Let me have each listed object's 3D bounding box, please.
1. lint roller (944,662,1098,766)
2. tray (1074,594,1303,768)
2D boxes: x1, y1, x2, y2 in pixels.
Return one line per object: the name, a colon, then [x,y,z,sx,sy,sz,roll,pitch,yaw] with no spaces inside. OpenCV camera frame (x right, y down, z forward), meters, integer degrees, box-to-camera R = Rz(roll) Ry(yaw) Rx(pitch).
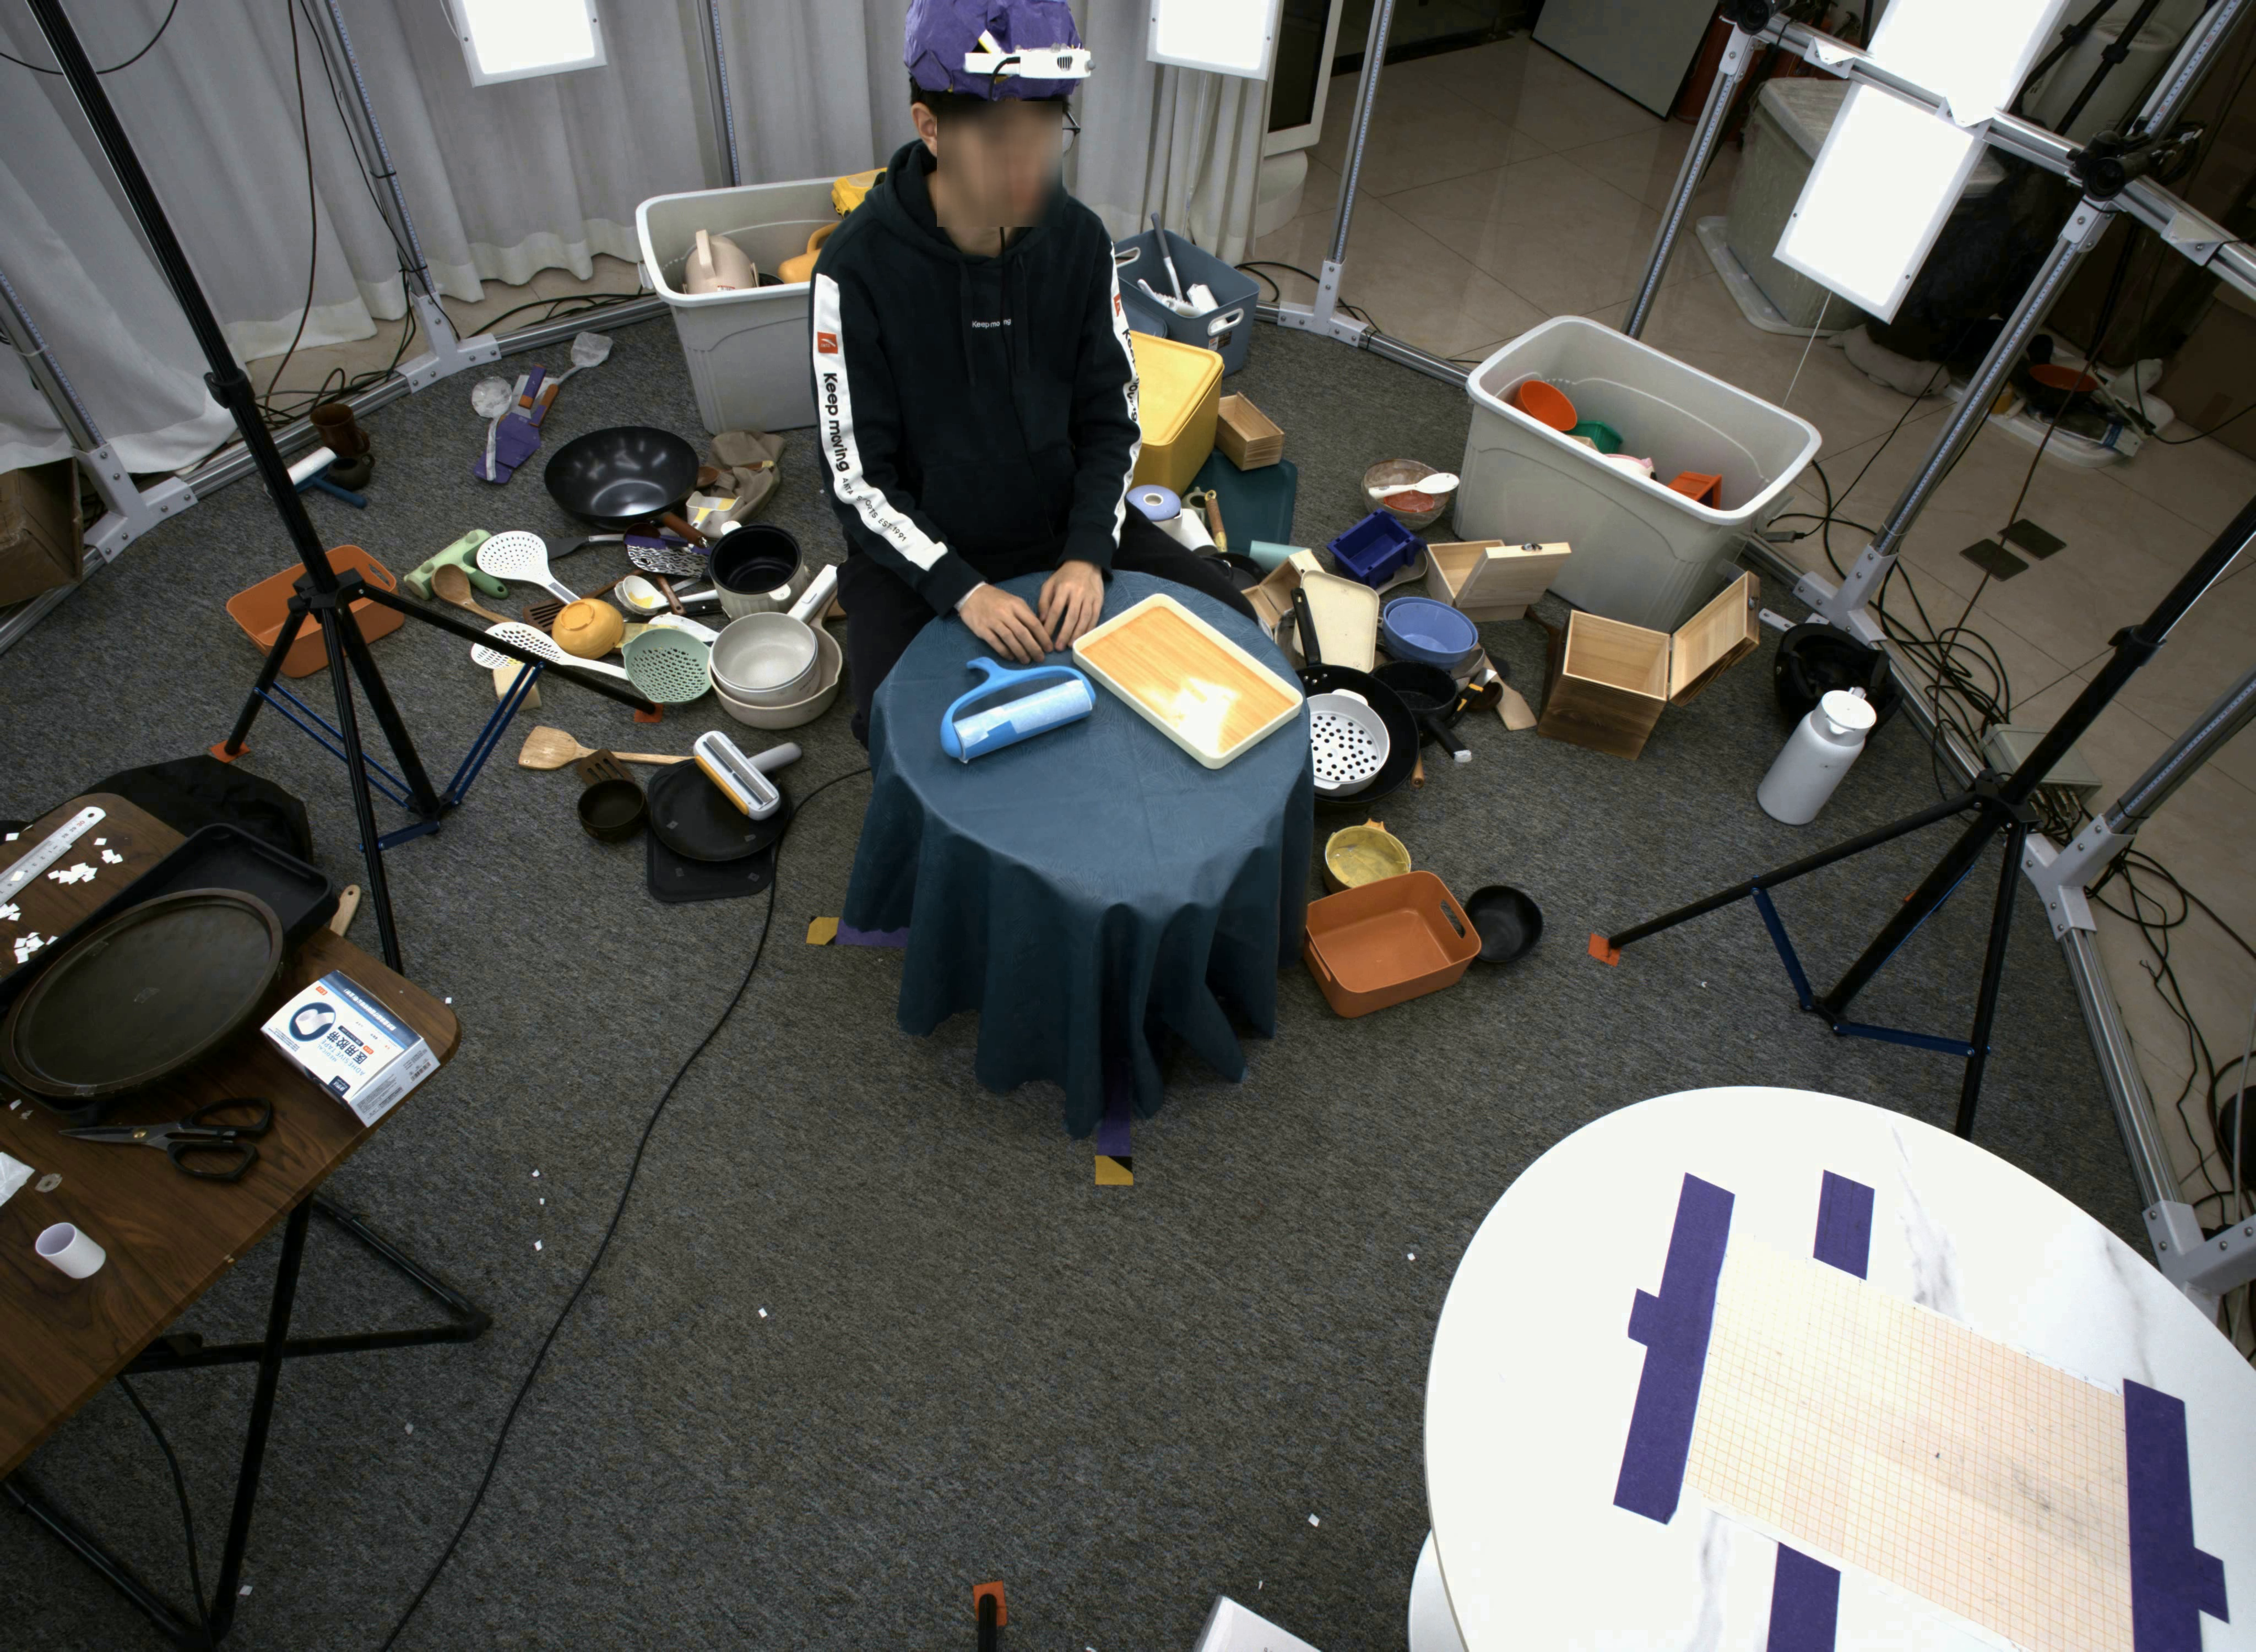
lint roller: [-0.176,-0.183,1.780,0.230,0.066,0.184,-27,56,-22]
tray: [0.084,-0.214,1.841,0.193,0.027,0.305,-33,59,-28]
